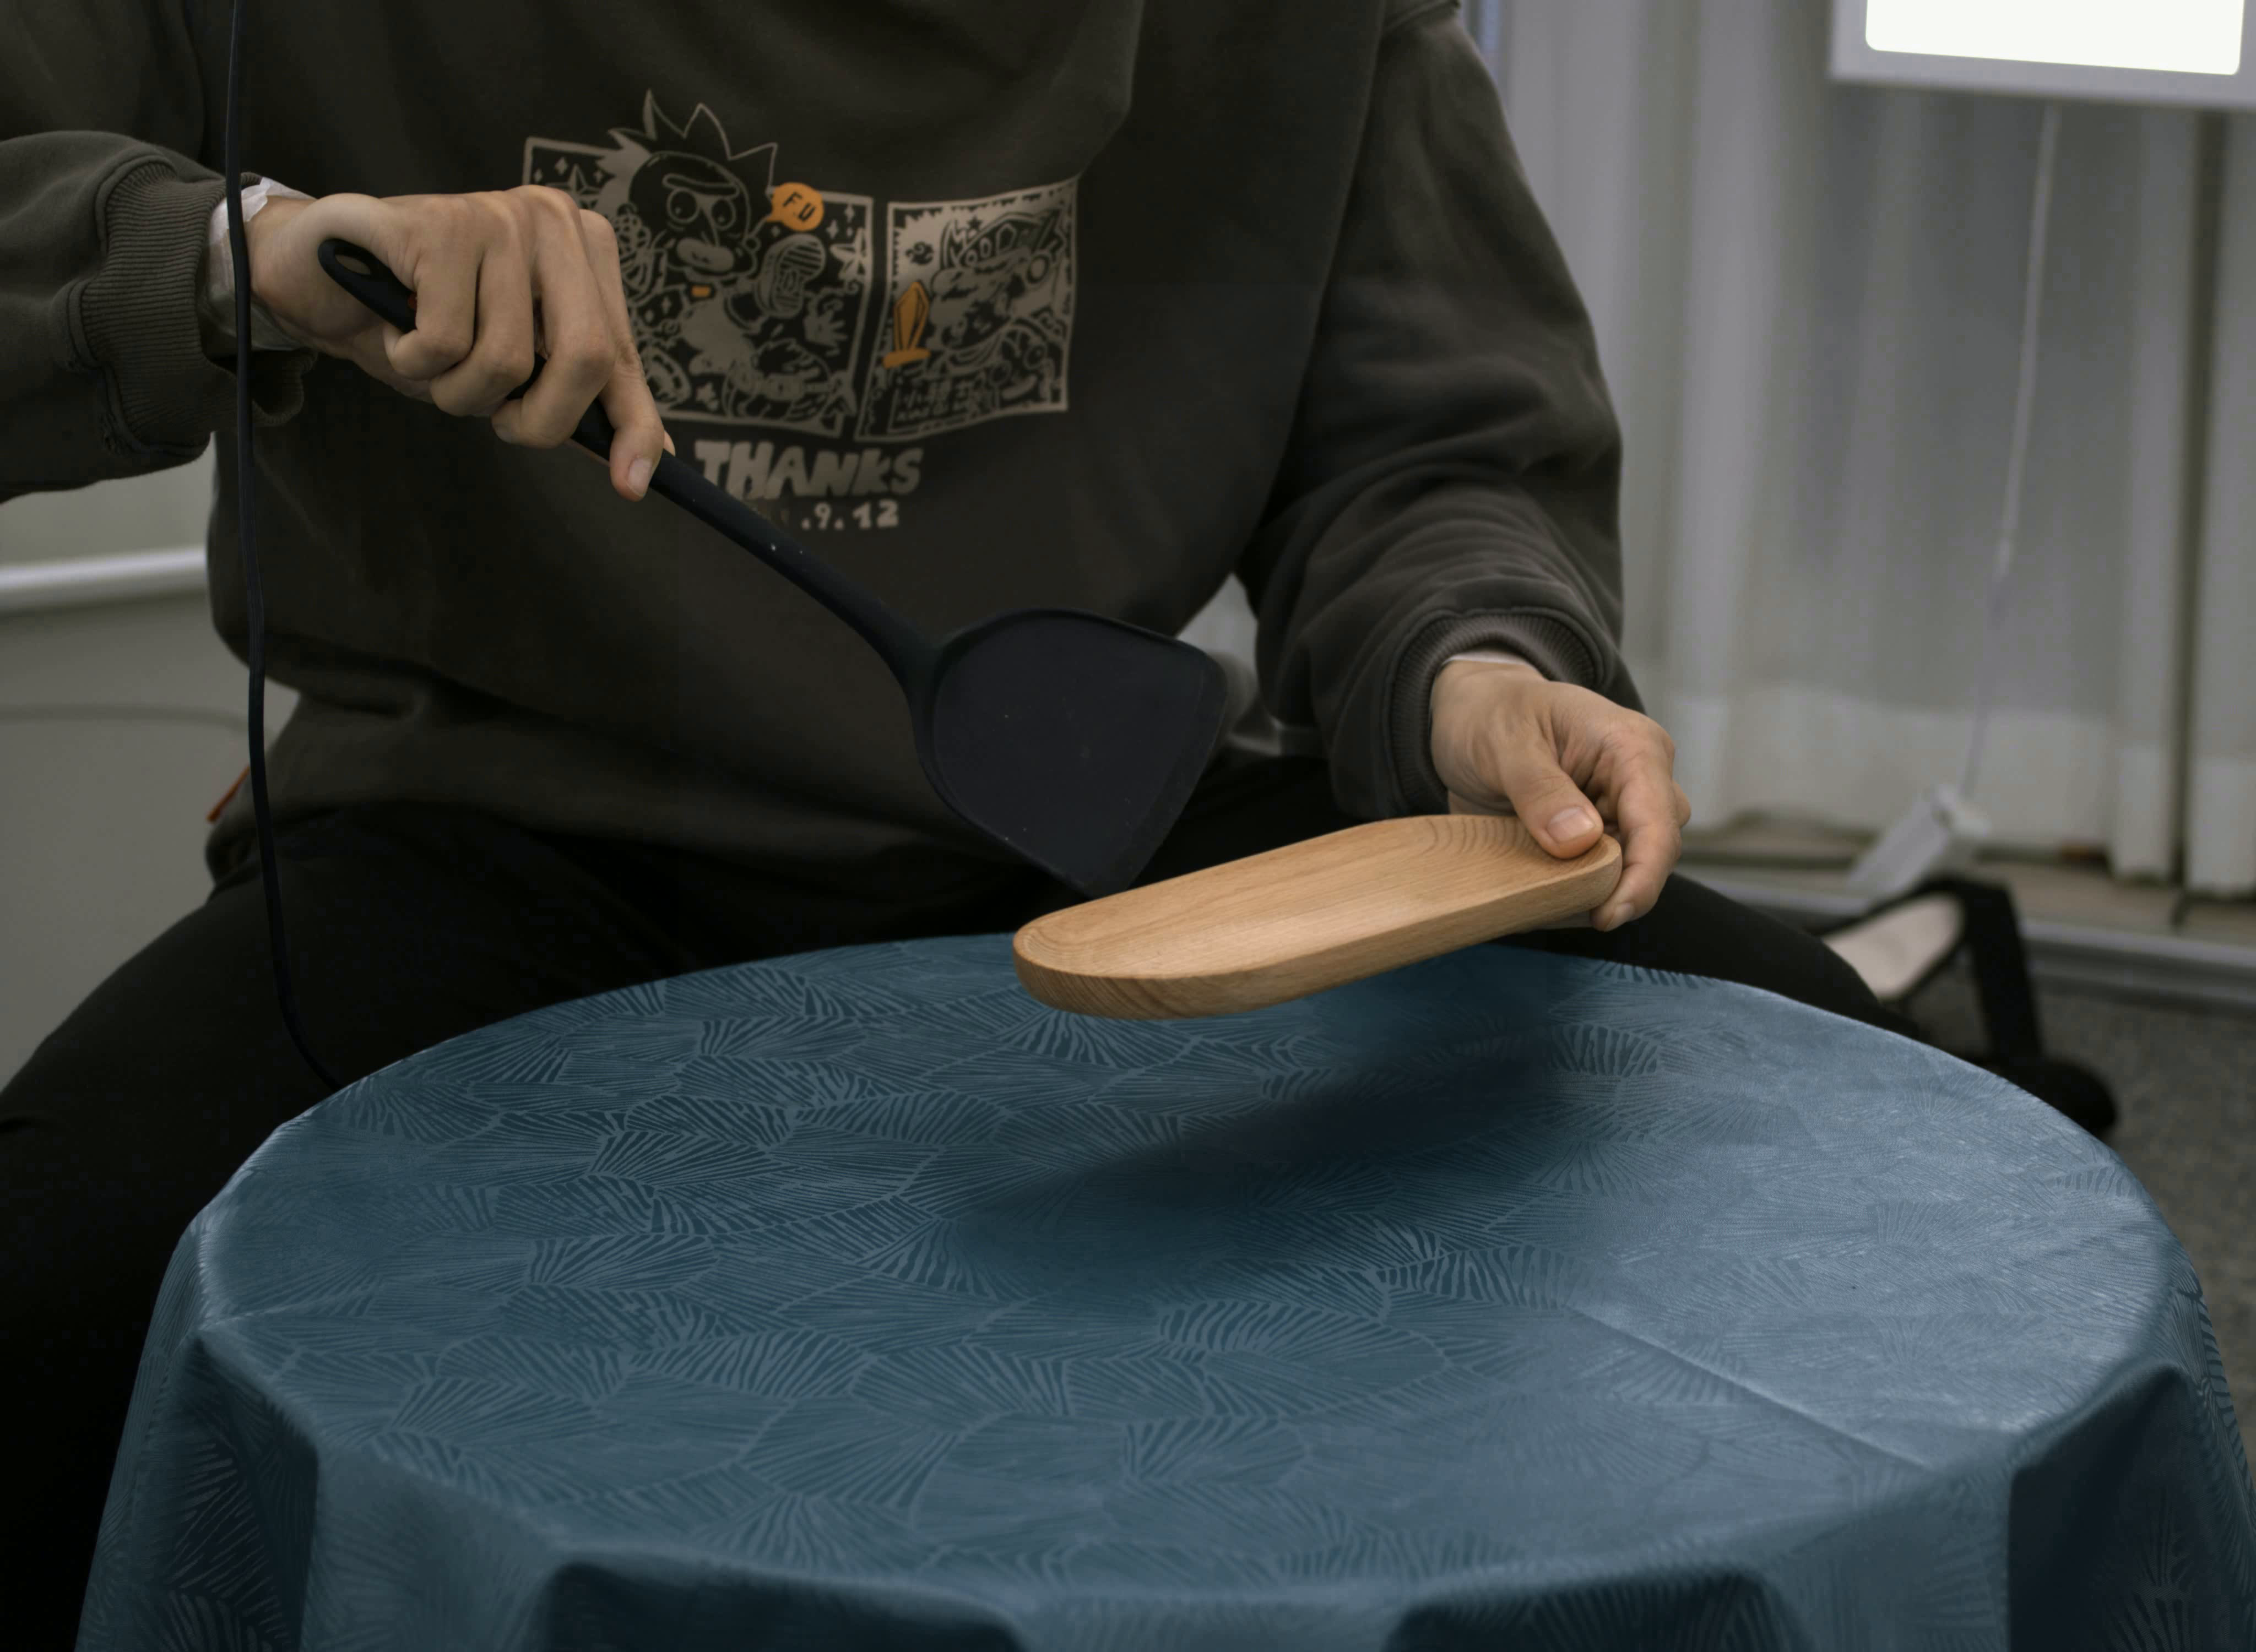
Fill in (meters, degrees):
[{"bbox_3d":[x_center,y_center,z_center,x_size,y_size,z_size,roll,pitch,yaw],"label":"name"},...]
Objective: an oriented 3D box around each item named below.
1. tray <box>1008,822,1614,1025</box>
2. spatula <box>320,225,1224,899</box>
[{"bbox_3d":[0.060,0.030,1.658,0.100,0.020,0.232,10,19,44],"label":"tray"},{"bbox_3d":[-0.117,-0.097,1.676,0.328,0.099,0.040,36,-29,-16],"label":"spatula"}]
